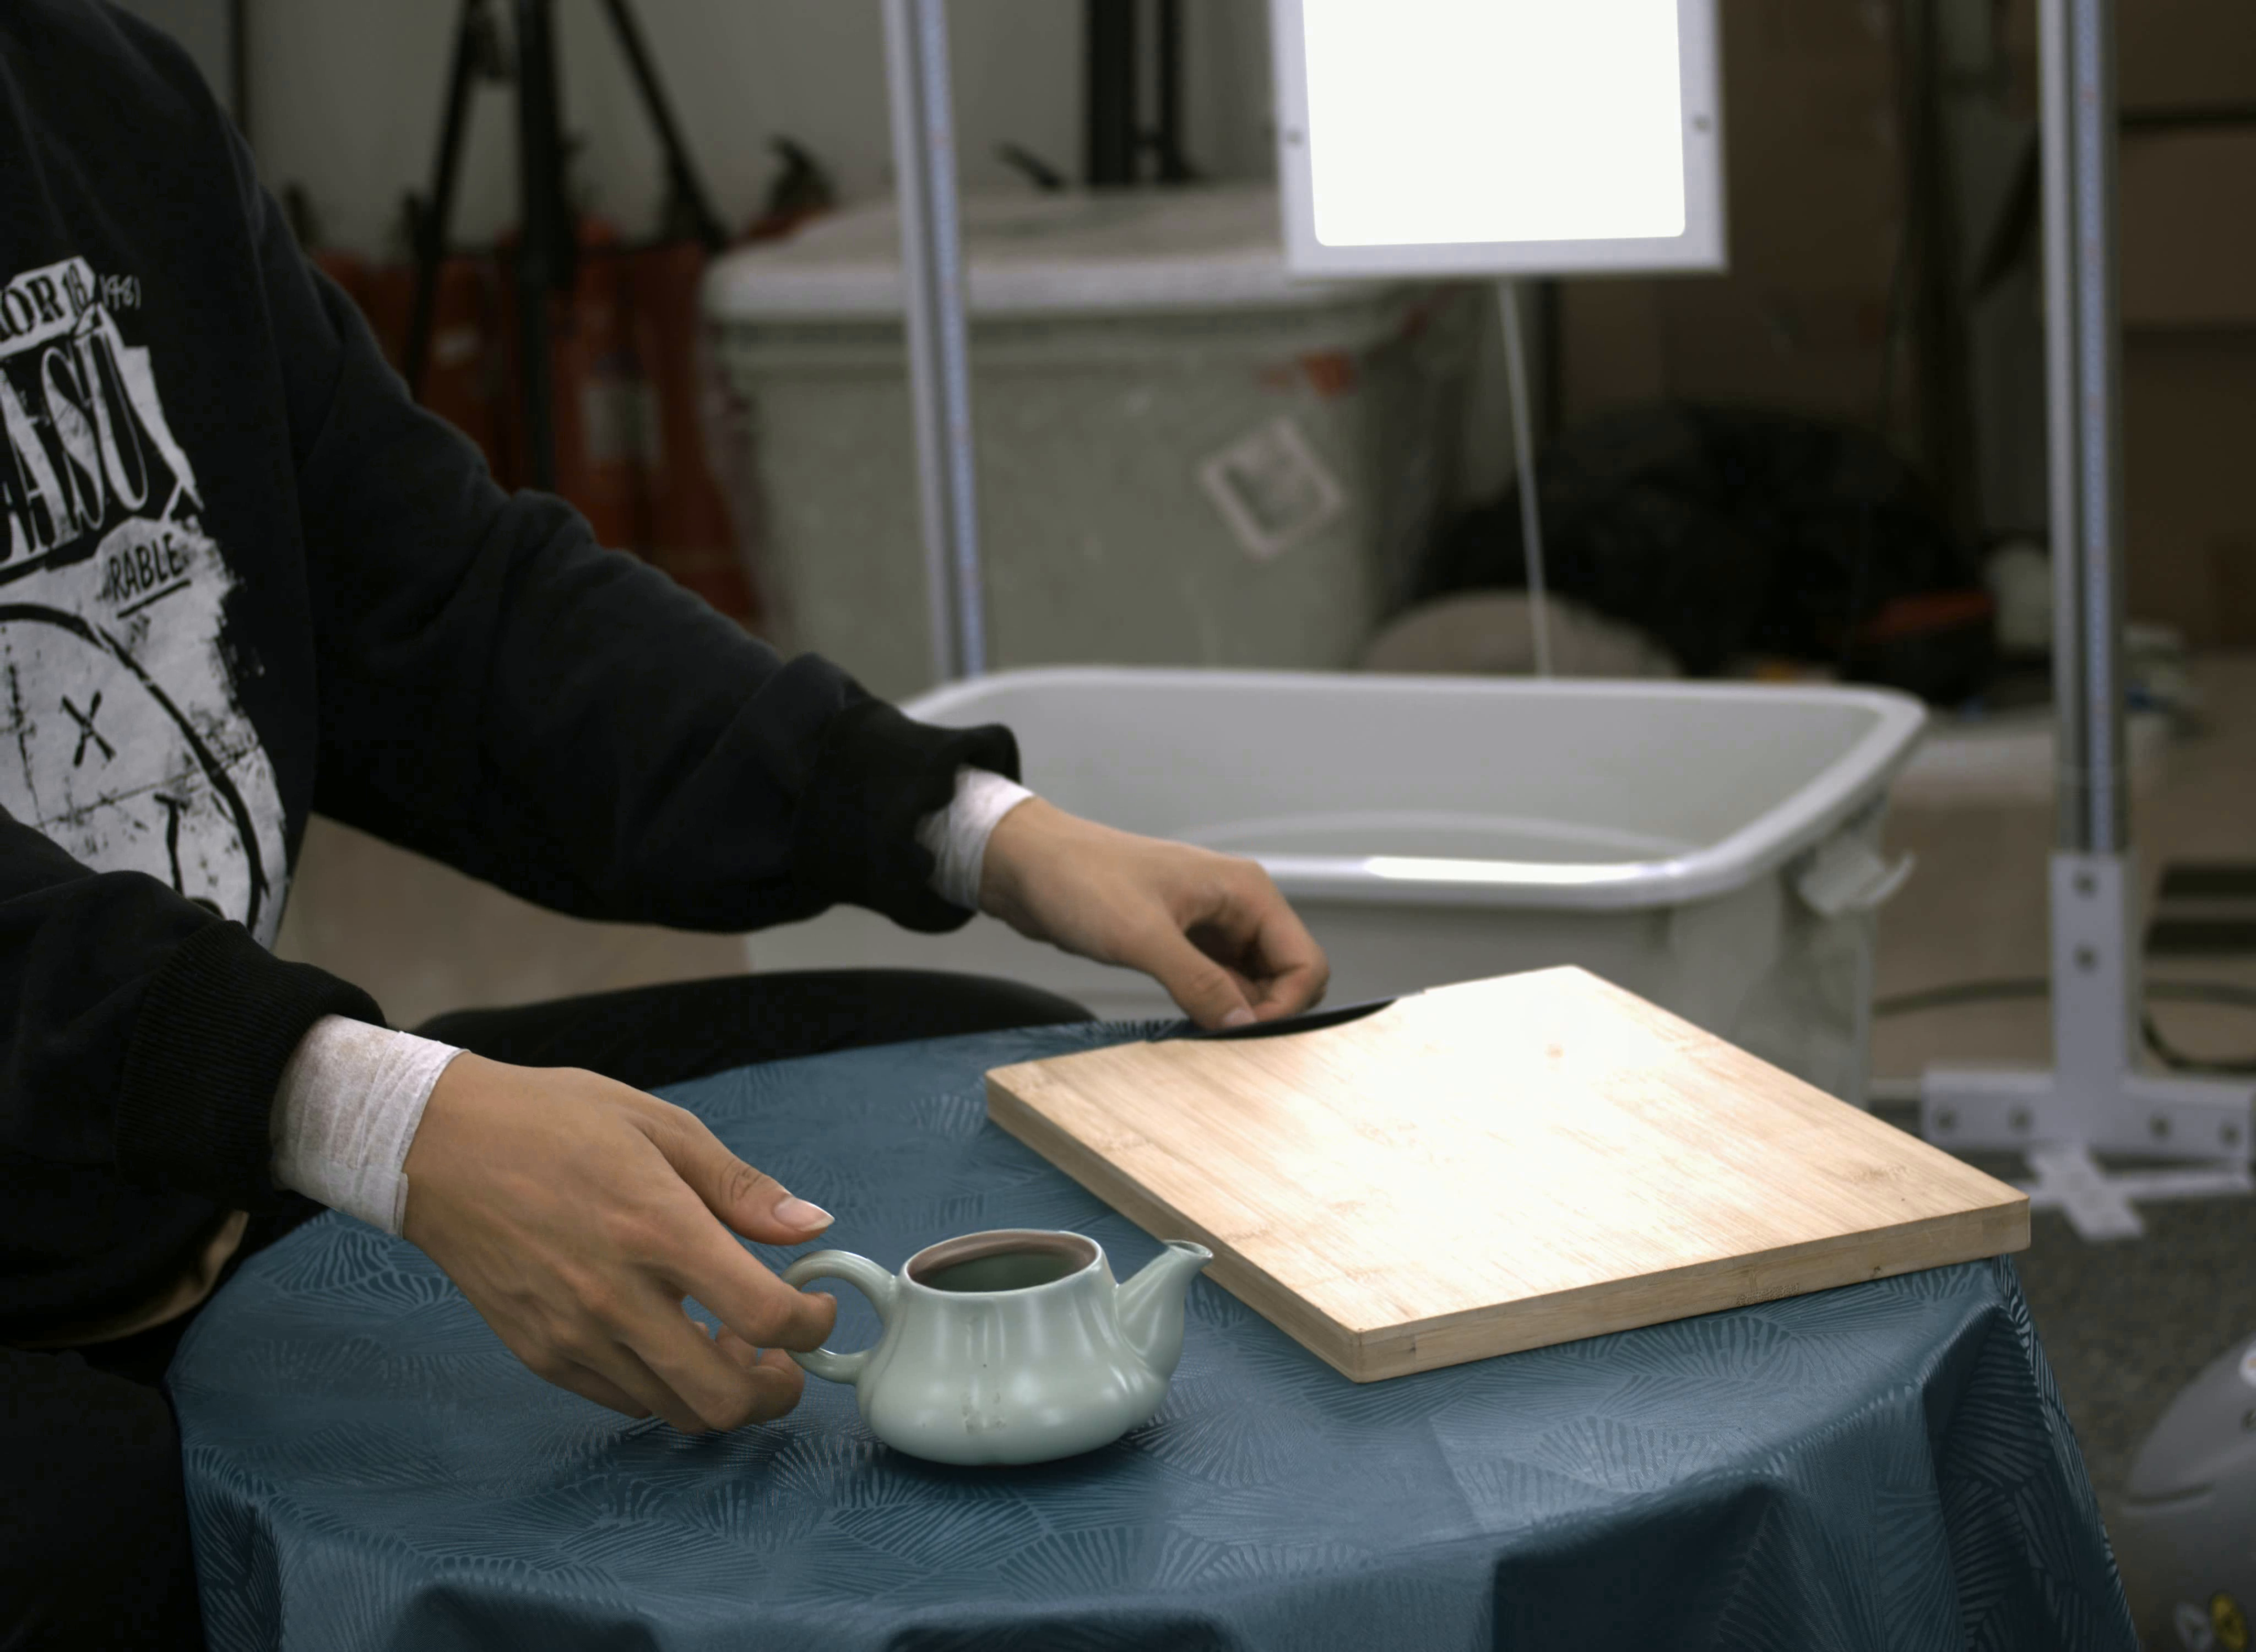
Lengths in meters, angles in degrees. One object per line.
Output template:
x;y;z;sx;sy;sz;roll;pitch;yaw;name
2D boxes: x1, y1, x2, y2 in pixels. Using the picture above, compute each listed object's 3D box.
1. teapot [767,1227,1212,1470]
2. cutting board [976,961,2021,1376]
-0.041;0.157;1.665;0.137;0.061;0.095;-3;15;8;teapot
0.118;0.112;1.883;0.246;0.023;0.353;-10;15;-20;cutting board
